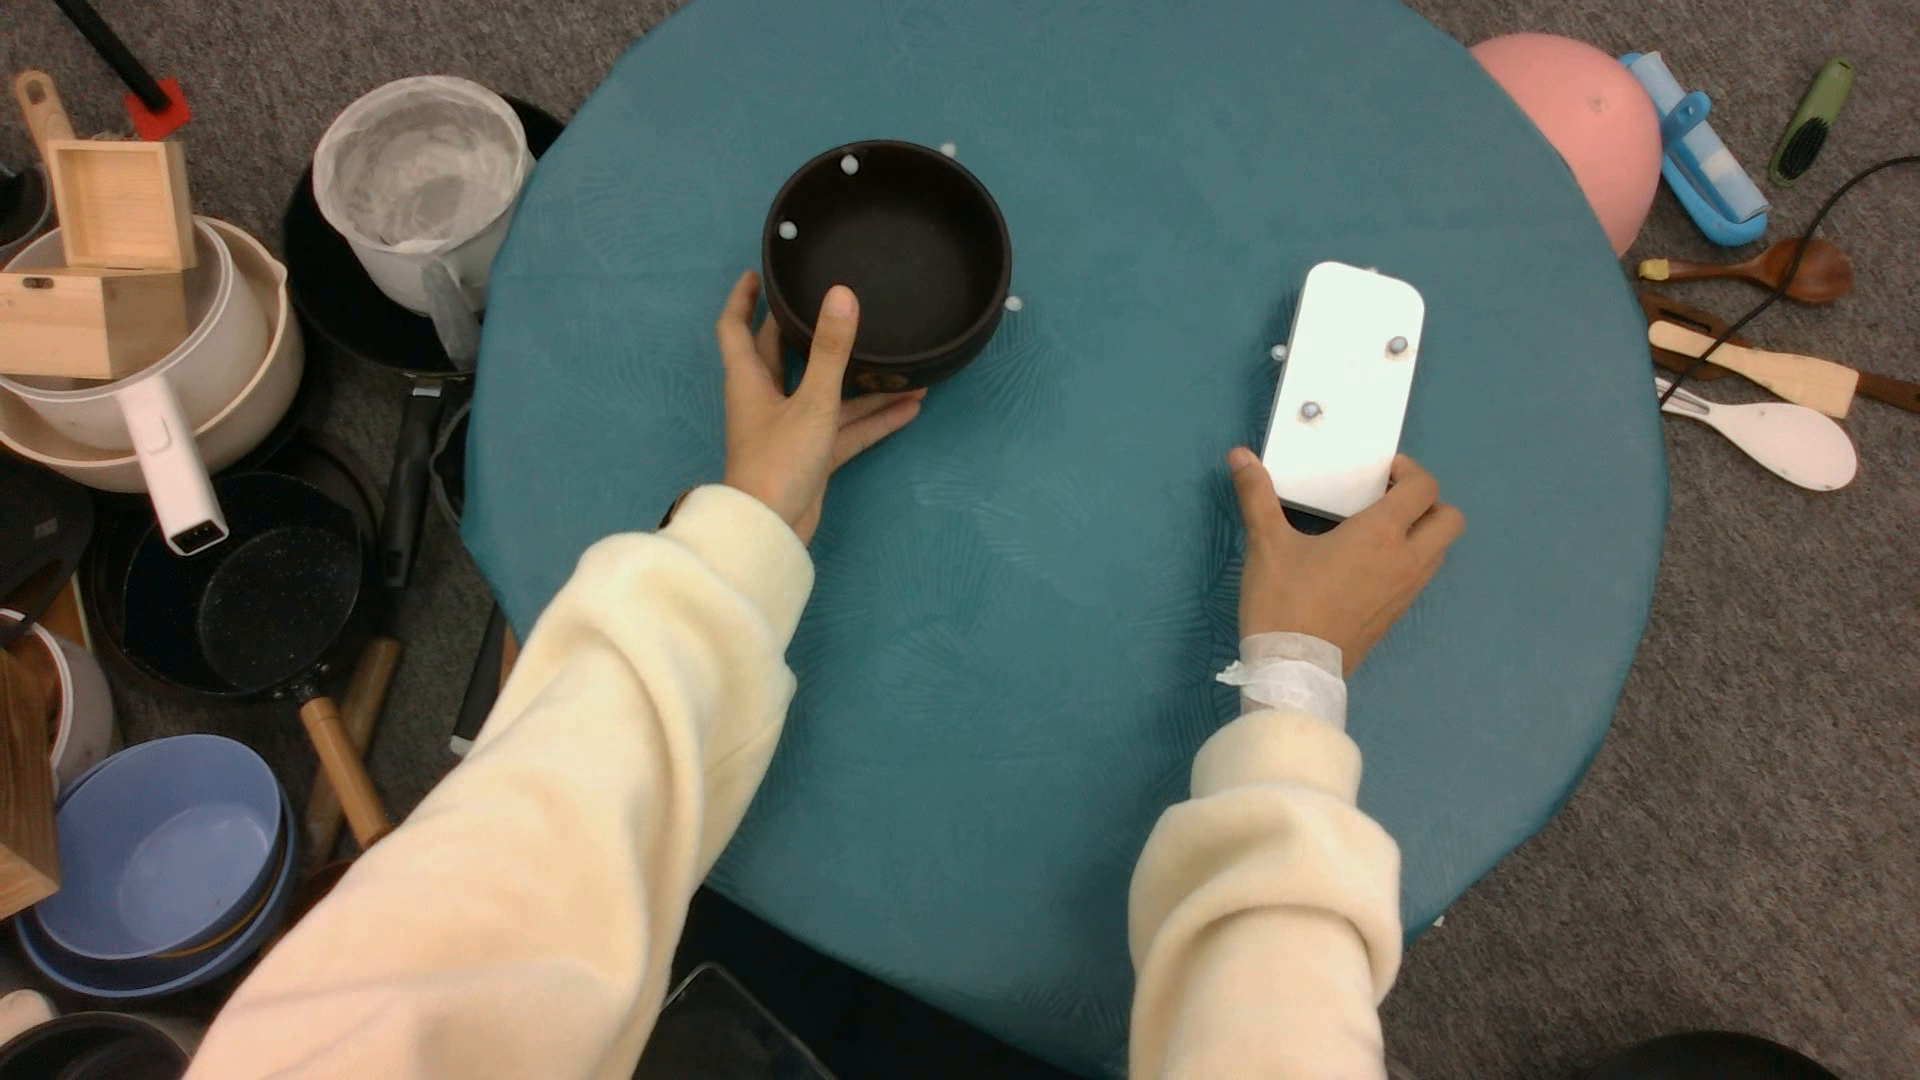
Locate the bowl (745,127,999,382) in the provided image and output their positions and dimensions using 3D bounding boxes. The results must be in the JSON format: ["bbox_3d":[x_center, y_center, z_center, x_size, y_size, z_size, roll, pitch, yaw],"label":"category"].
[{"bbox_3d":[-0.042,-0.130,0.662,0.118,0.069,0.118,1,75,-3],"label":"bowl"}]

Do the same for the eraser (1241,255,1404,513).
[{"bbox_3d":[0.180,-0.079,0.688,0.063,0.034,0.131,17,72,0],"label":"eraser"}]
